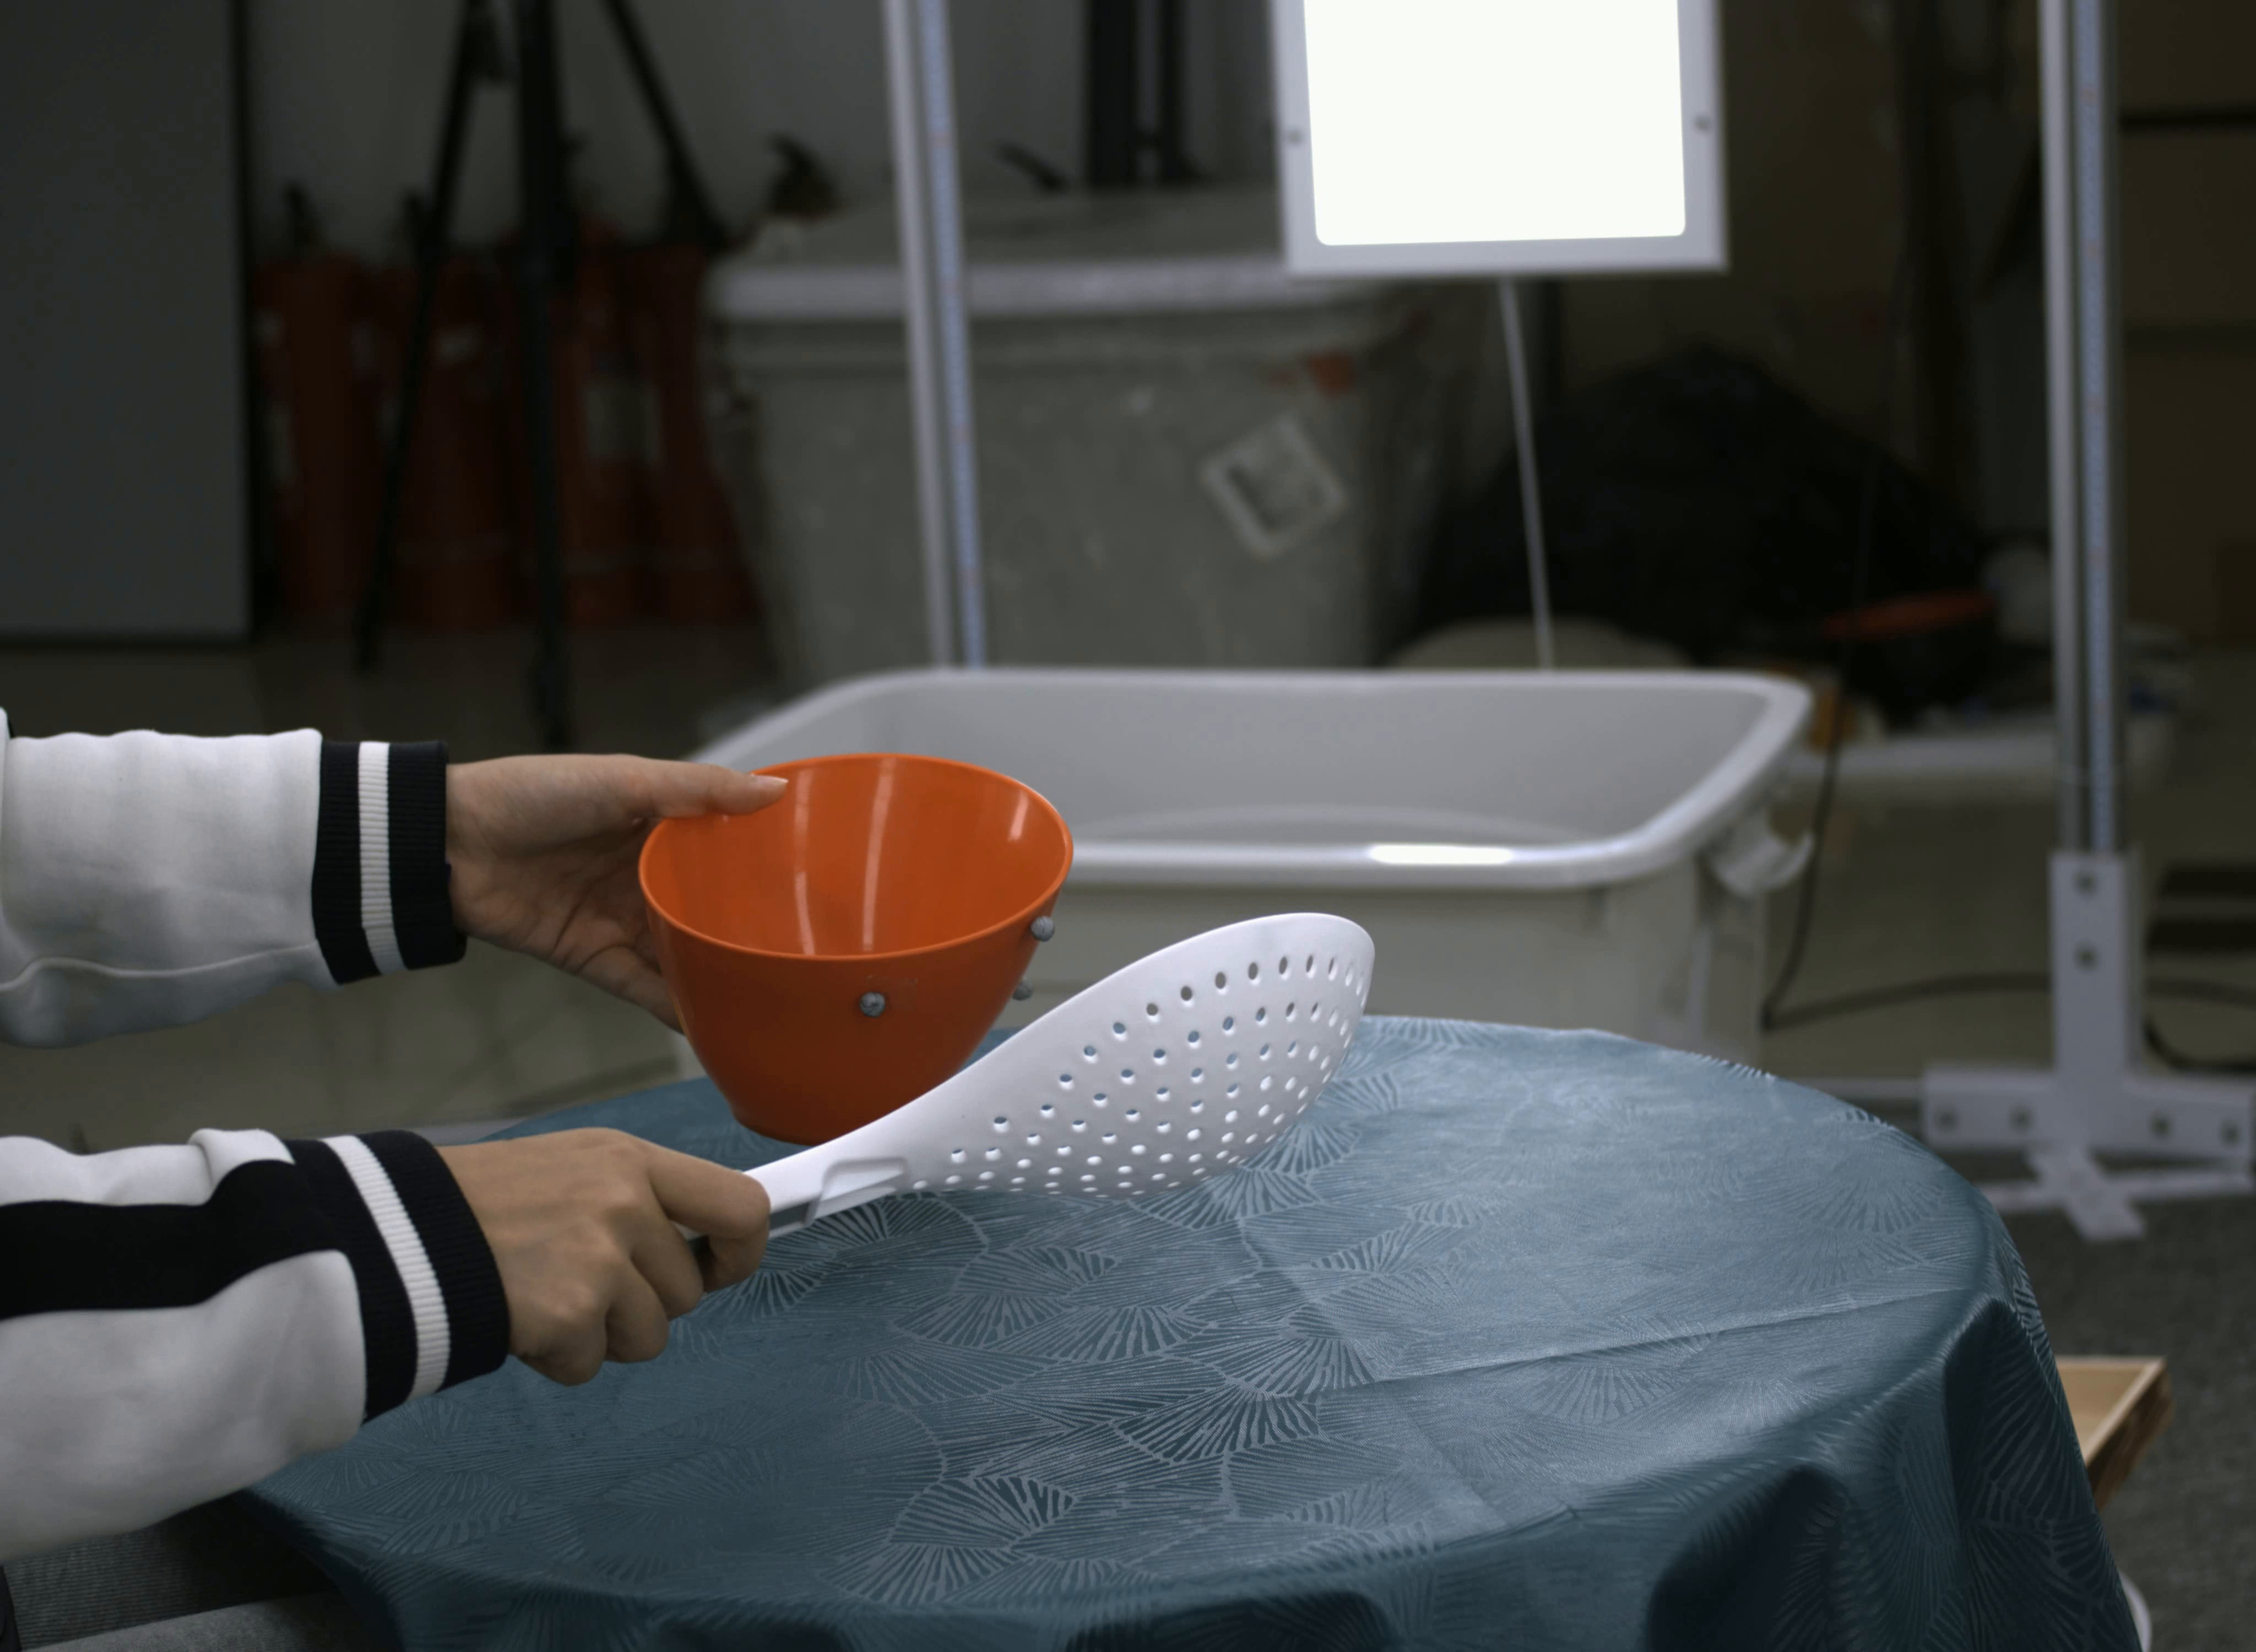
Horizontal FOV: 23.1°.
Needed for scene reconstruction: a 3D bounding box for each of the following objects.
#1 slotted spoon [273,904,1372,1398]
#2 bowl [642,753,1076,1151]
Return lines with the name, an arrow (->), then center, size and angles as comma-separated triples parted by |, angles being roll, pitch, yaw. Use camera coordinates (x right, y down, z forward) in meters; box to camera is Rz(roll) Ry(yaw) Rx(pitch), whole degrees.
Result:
slotted spoon -> -0.082, 0.100, 1.602 | 0.344, 0.046, 0.137 | -13, -29, -16
bowl -> -0.095, 0.048, 1.889 | 0.147, 0.105, 0.148 | 3, 22, -3
